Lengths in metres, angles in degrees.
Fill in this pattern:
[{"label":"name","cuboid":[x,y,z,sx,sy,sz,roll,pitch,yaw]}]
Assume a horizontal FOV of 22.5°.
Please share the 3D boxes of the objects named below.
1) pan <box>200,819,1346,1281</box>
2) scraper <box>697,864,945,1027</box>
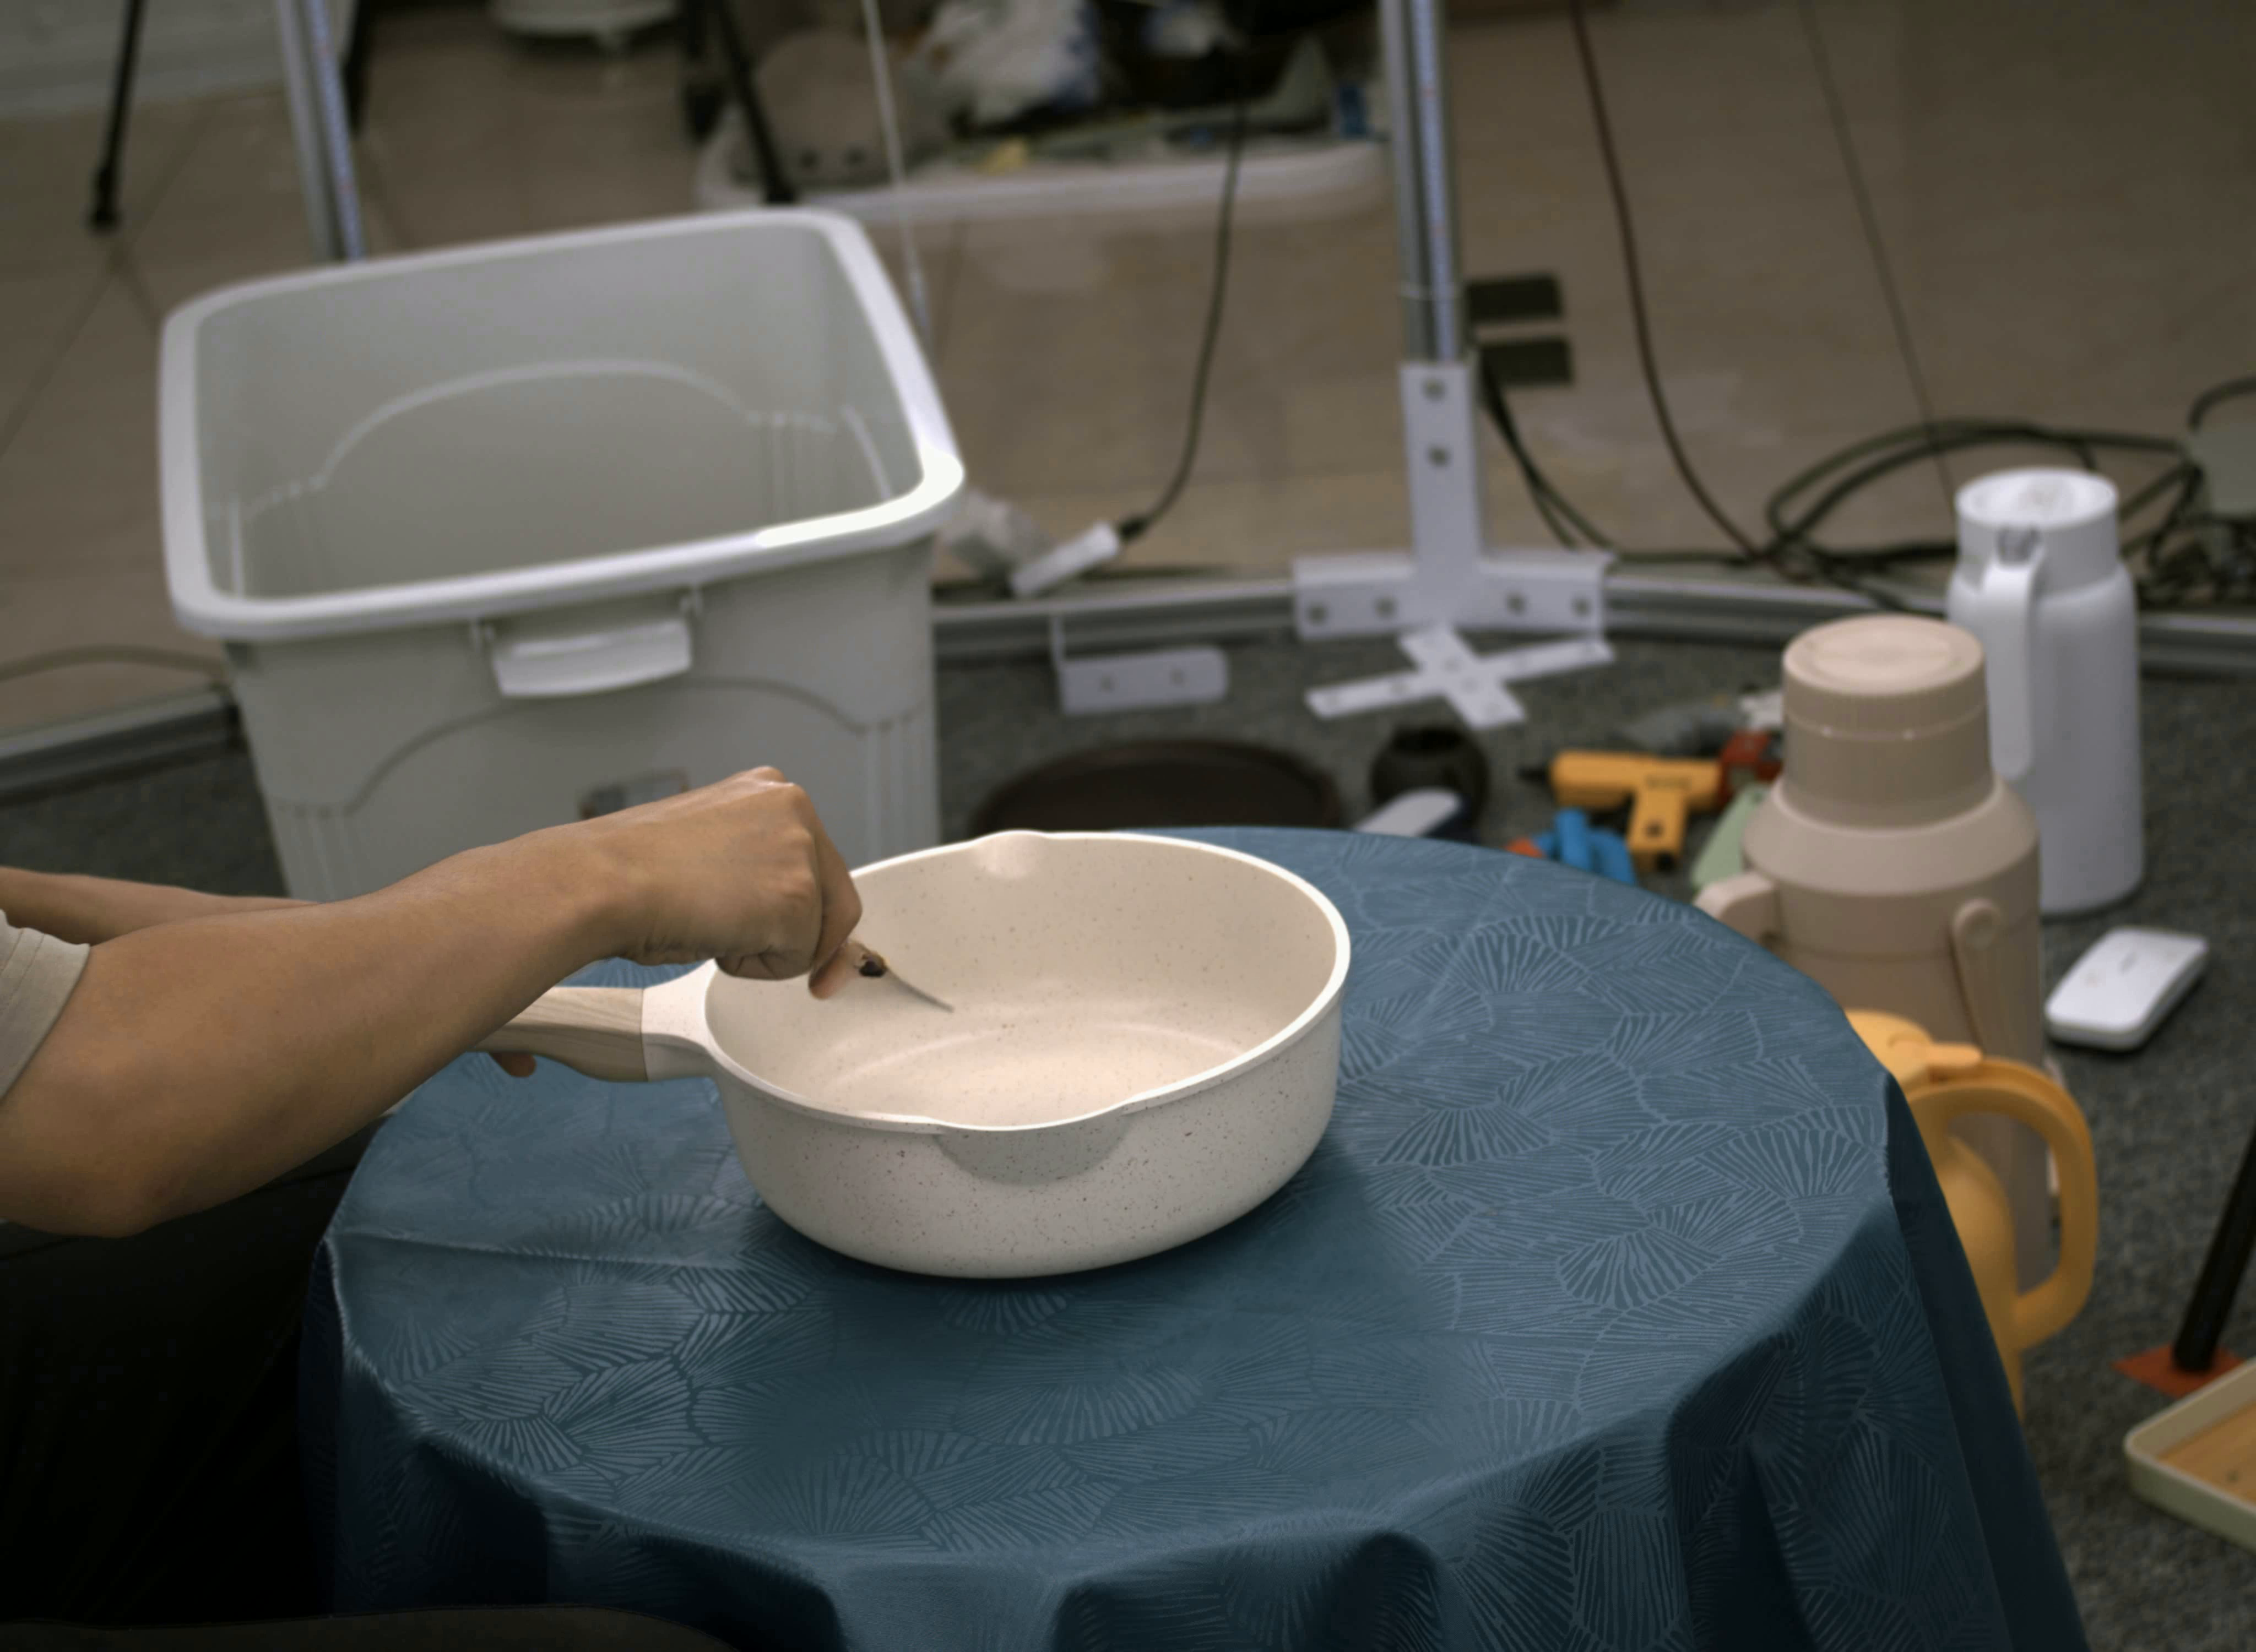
[{"label":"pan","cuboid":[-0.130,0.093,2.166,0.434,0.104,0.259,-6,27,-1]},{"label":"scraper","cuboid":[-0.115,0.046,2.109,0.038,0.173,0.015,22,81,27]}]
